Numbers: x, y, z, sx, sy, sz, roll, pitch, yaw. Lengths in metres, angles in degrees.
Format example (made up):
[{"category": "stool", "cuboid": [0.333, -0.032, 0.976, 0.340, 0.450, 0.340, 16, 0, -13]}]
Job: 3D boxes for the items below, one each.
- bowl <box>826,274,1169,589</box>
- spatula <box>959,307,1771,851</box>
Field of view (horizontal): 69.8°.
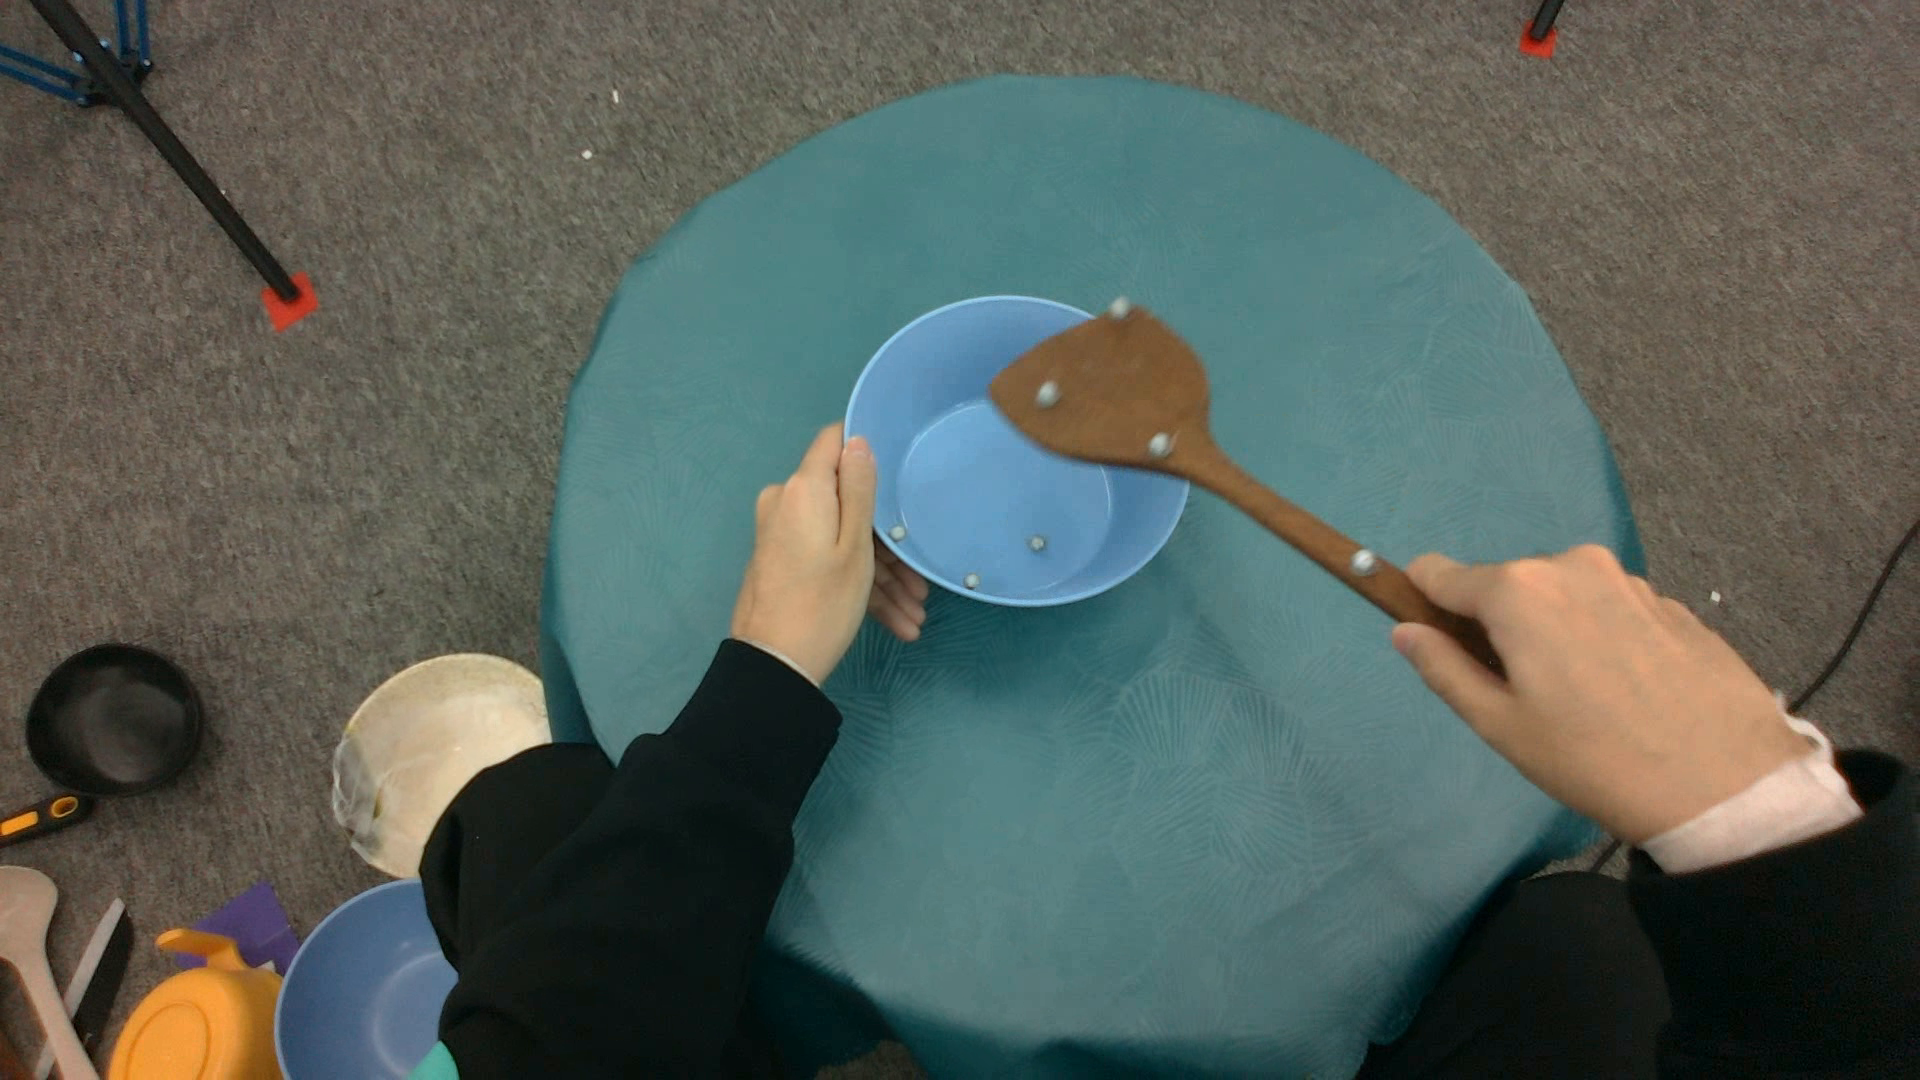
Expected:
[{"category": "bowl", "cuboid": [0.018, -0.047, 0.720, 0.176, 0.070, 0.176, 2, 67, -5]}, {"category": "spatula", "cuboid": [0.136, -0.003, 0.547, 0.096, 0.016, 0.386, -32, 44, -18]}]
